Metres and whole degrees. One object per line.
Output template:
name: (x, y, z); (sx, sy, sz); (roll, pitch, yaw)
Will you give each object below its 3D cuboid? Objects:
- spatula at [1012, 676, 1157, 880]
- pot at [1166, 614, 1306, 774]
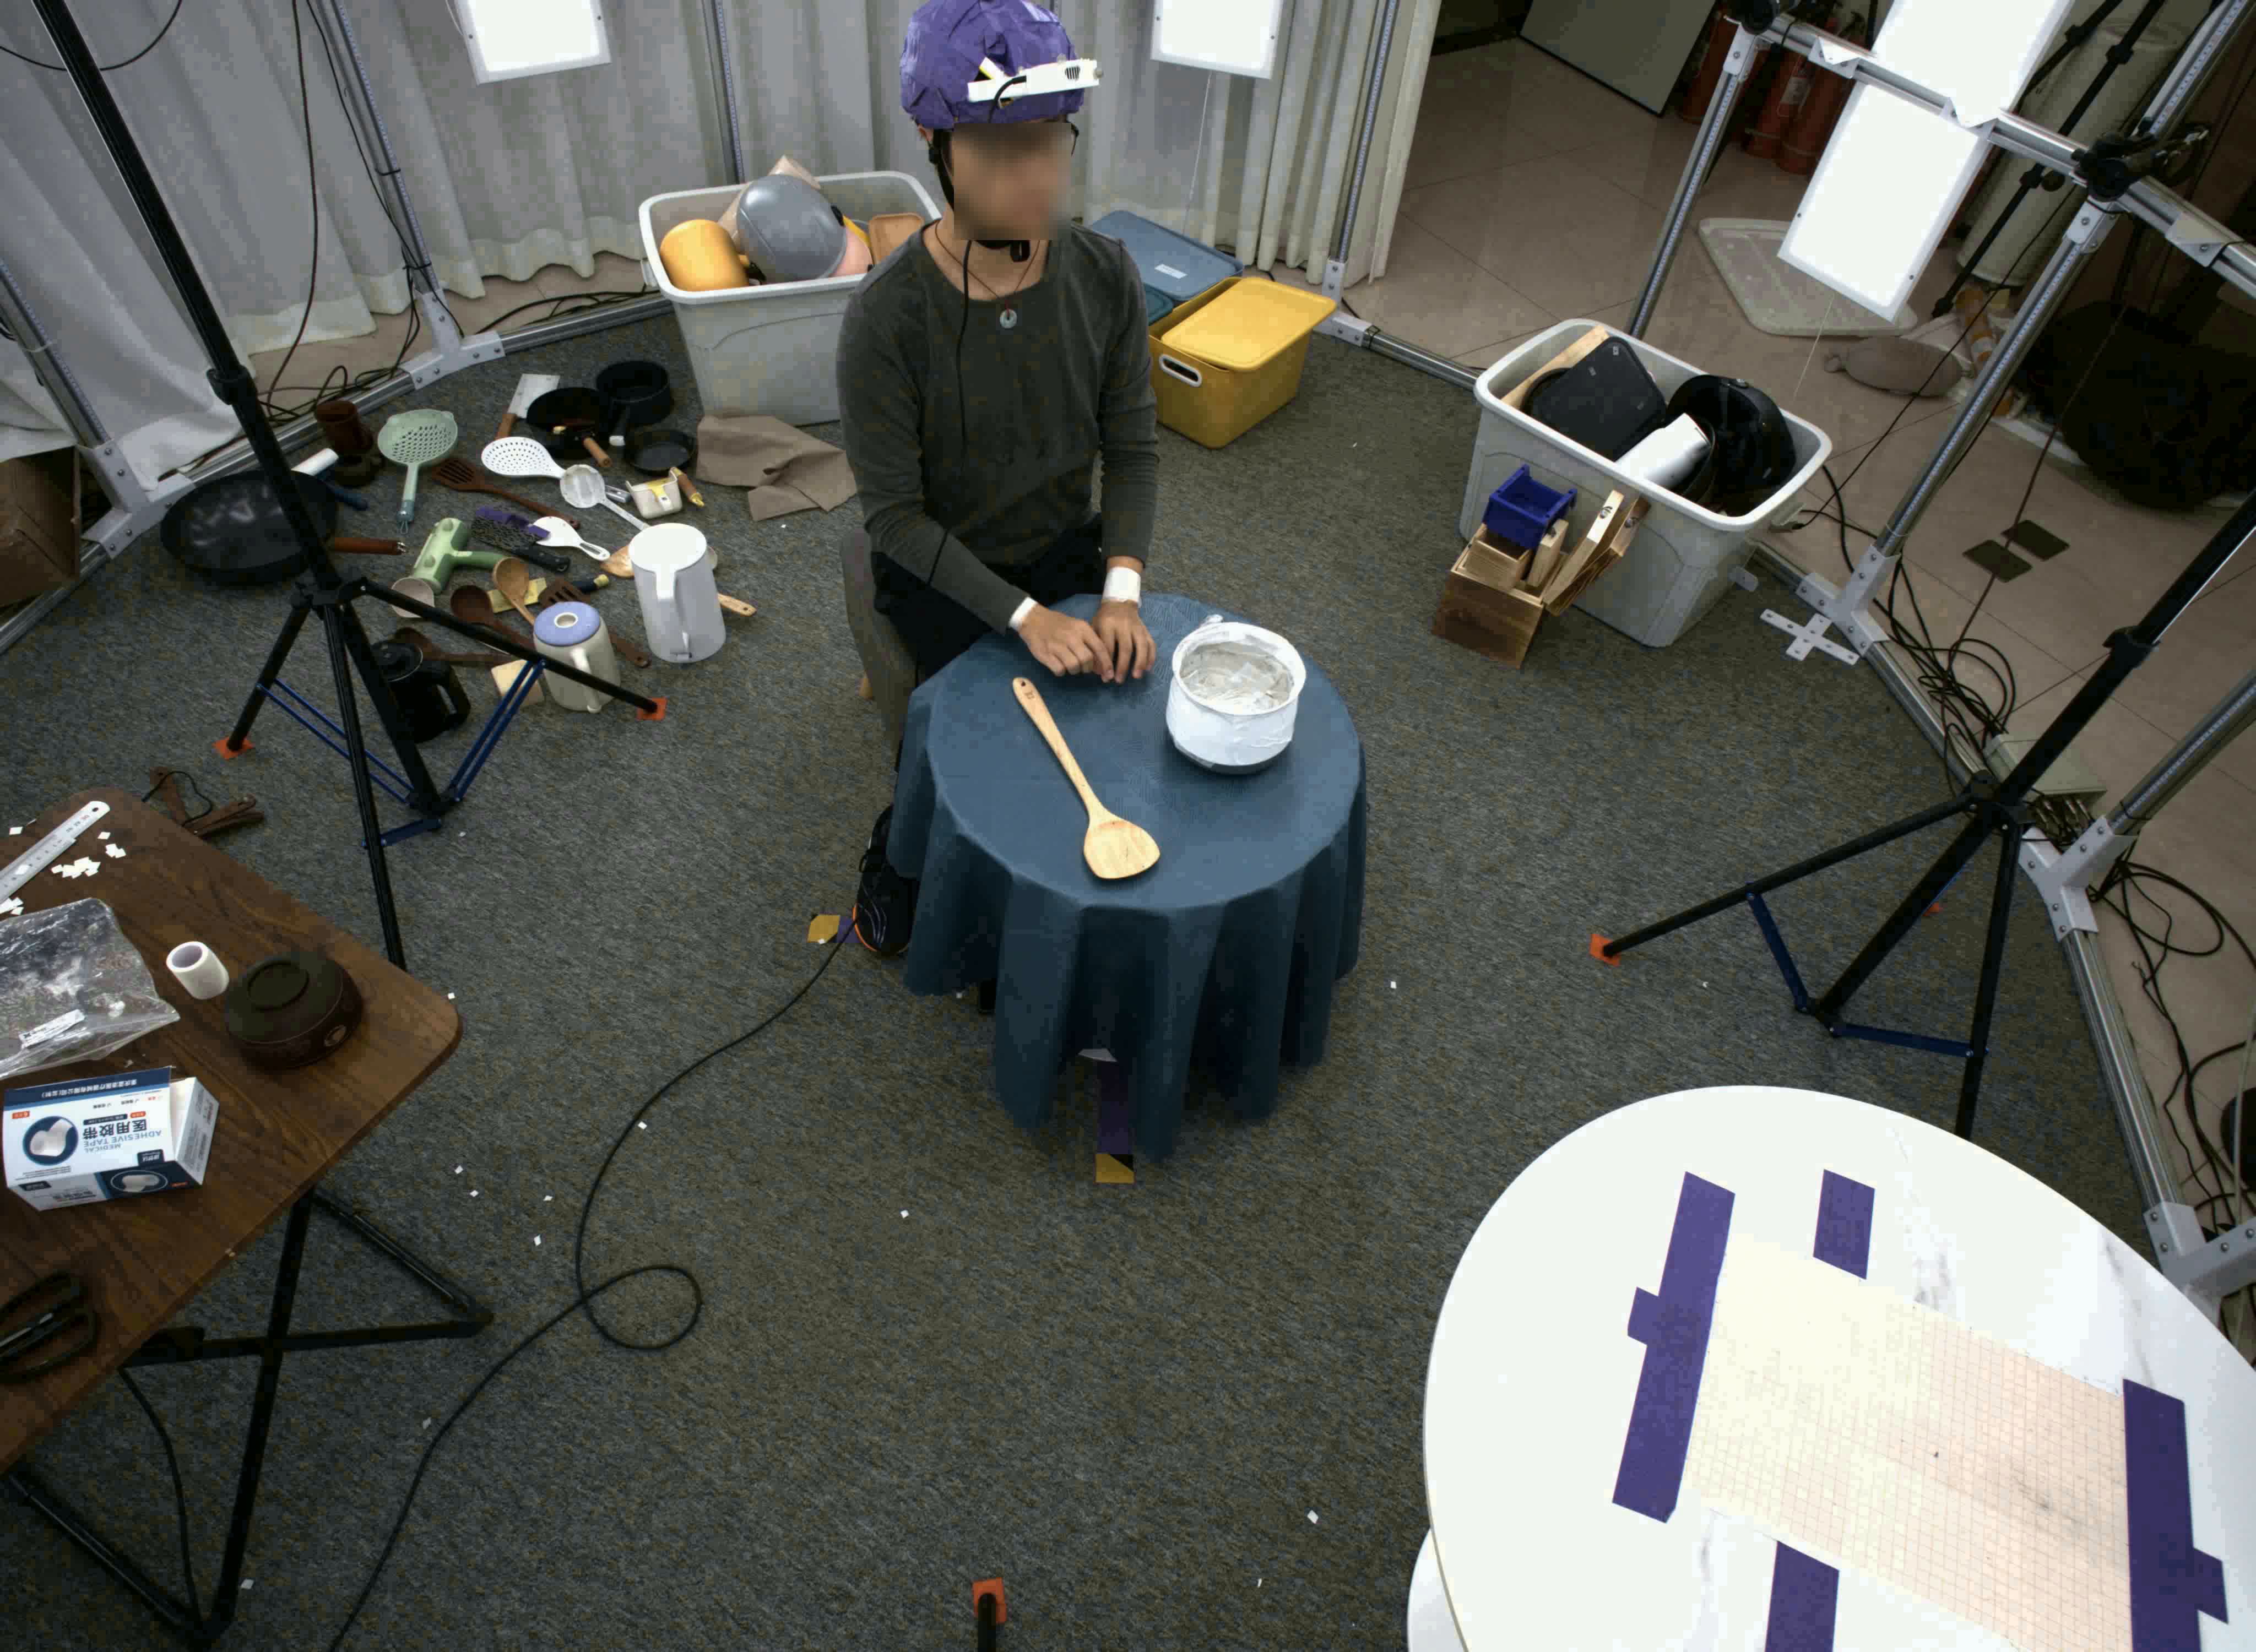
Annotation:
spatula: (-0.079, -0.074, 1.714); (0.096, 0.018, 0.399); (-16, 52, -19)
pot: (0.135, -0.190, 1.753); (0.178, 0.133, 0.239); (-10, 51, -13)
